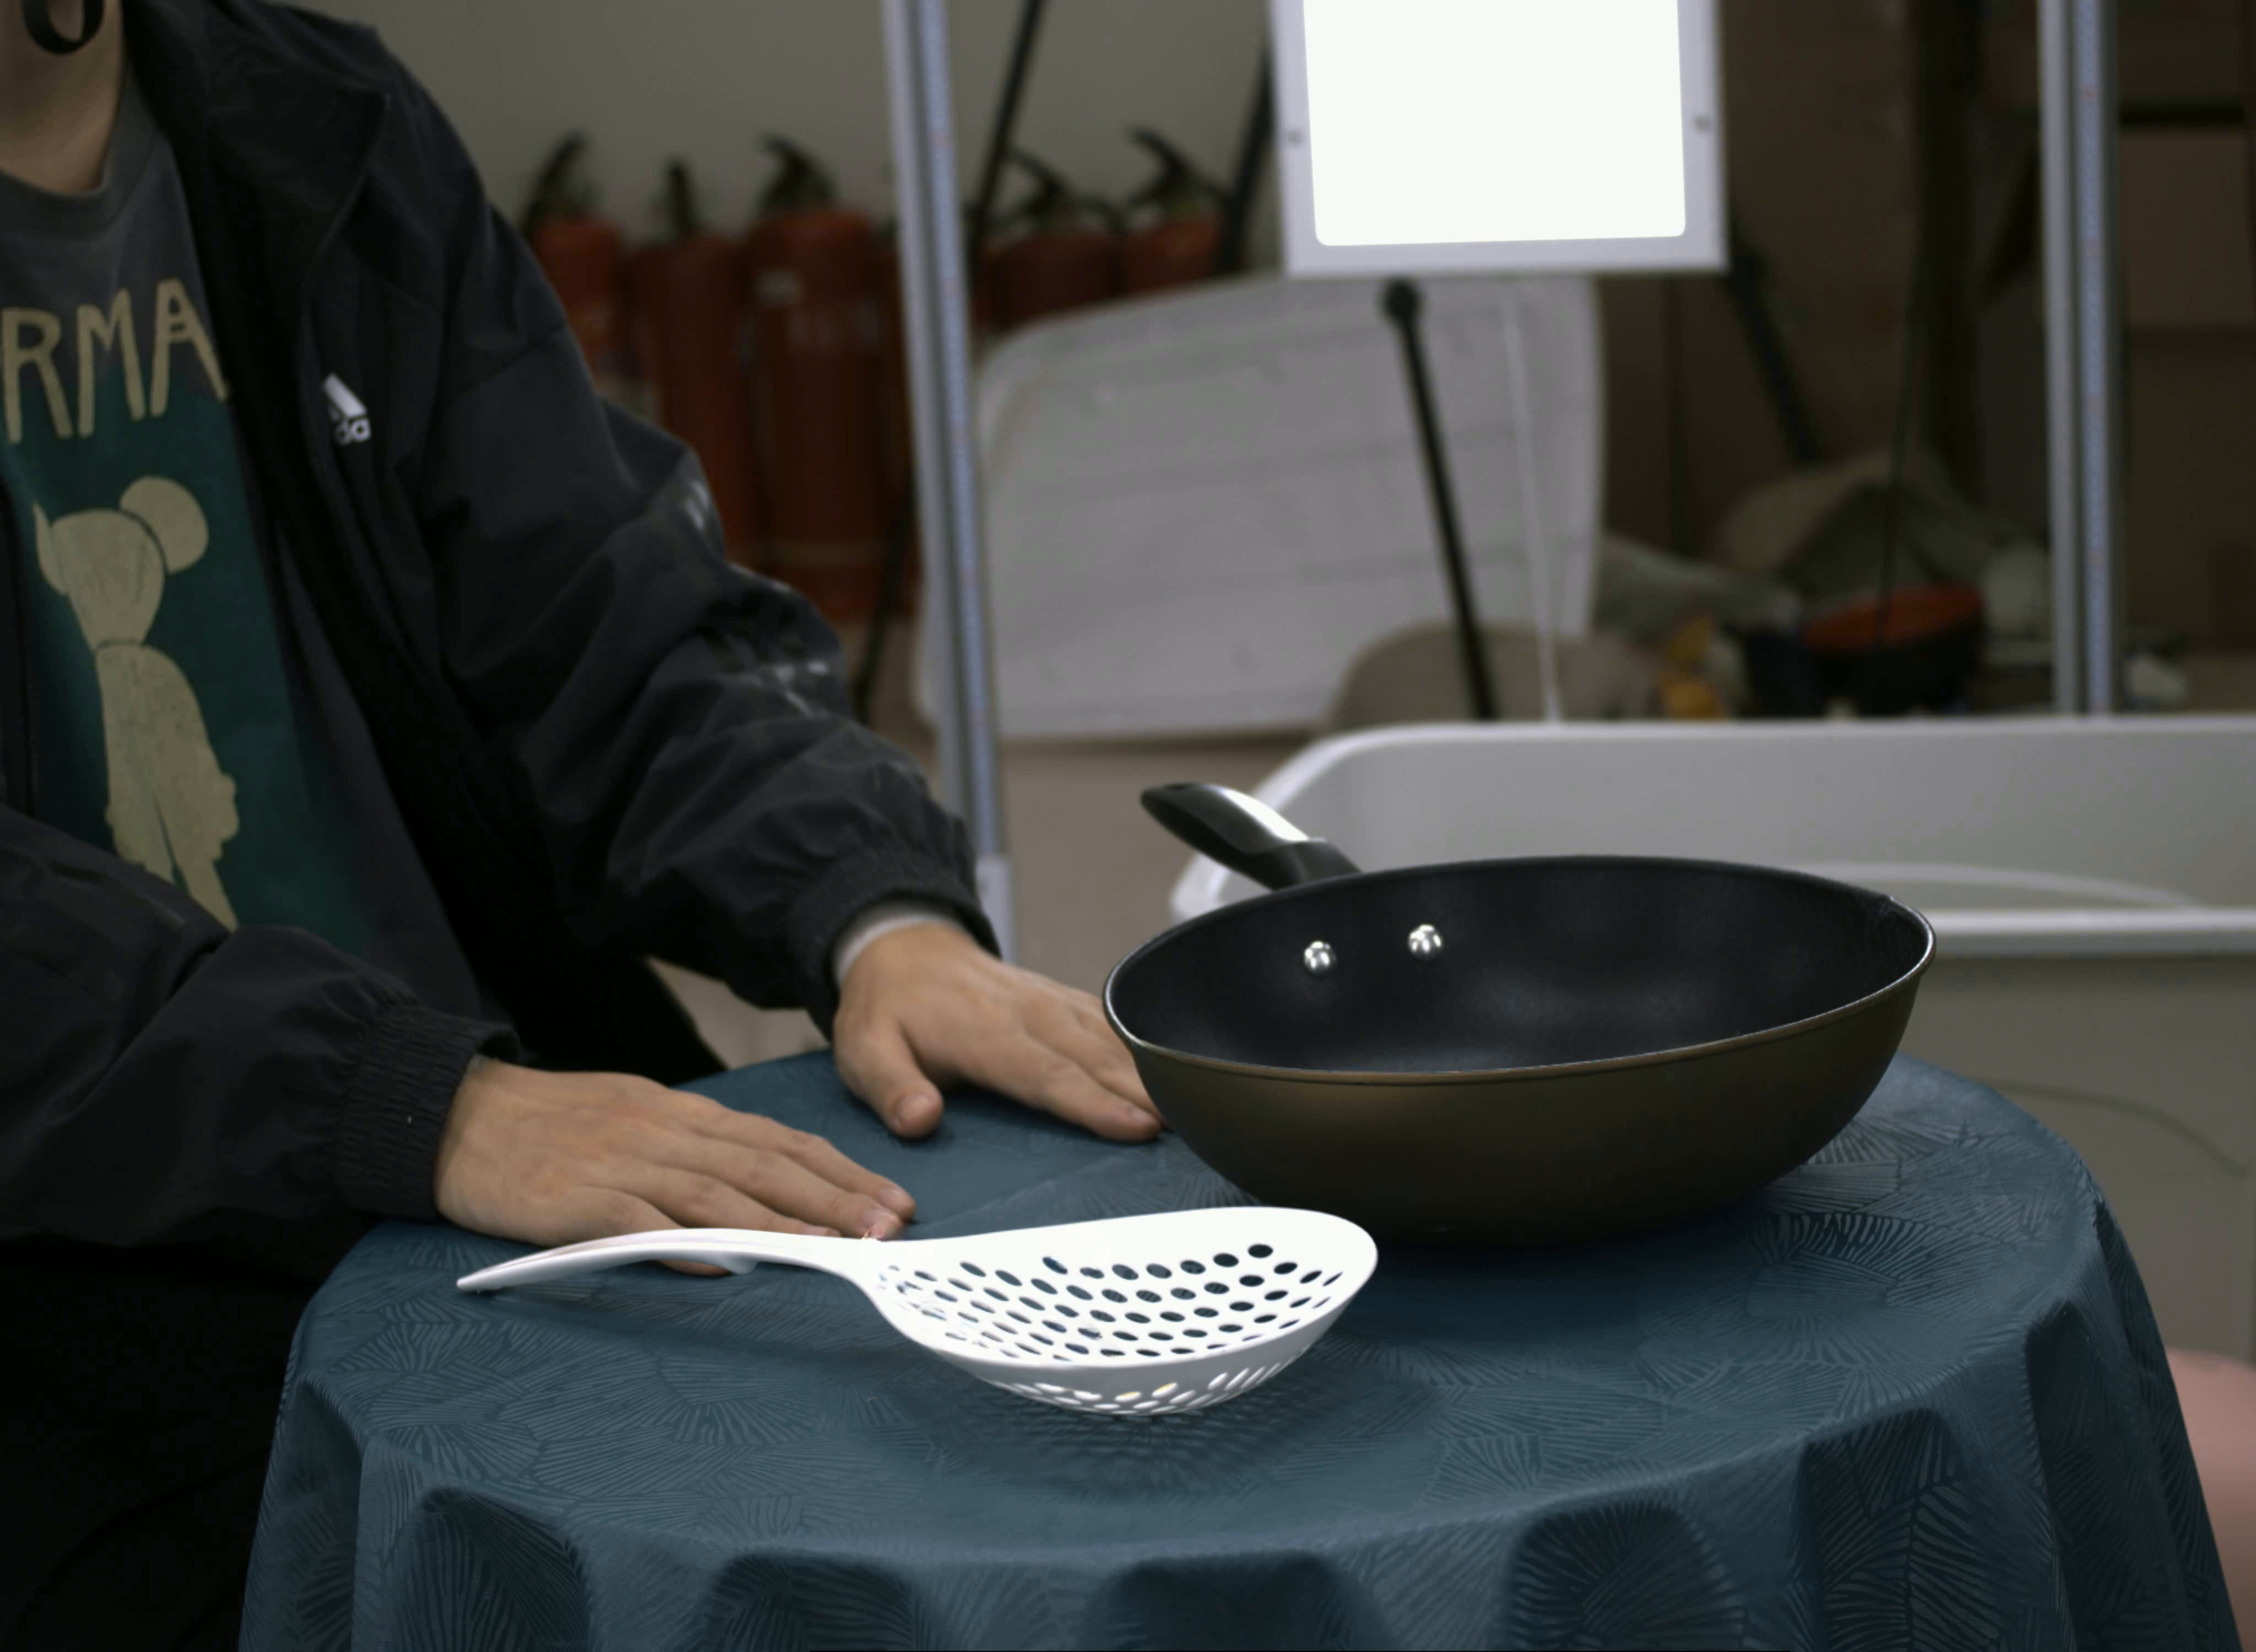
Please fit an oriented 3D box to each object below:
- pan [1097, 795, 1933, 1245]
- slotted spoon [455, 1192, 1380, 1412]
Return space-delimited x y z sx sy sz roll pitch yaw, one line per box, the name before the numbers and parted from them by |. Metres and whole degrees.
pan | 0.101 0.065 1.941 0.283 0.087 0.469 -9 13 -19
slotted spoon | -0.078 0.148 1.751 0.355 0.050 0.133 5 20 36
